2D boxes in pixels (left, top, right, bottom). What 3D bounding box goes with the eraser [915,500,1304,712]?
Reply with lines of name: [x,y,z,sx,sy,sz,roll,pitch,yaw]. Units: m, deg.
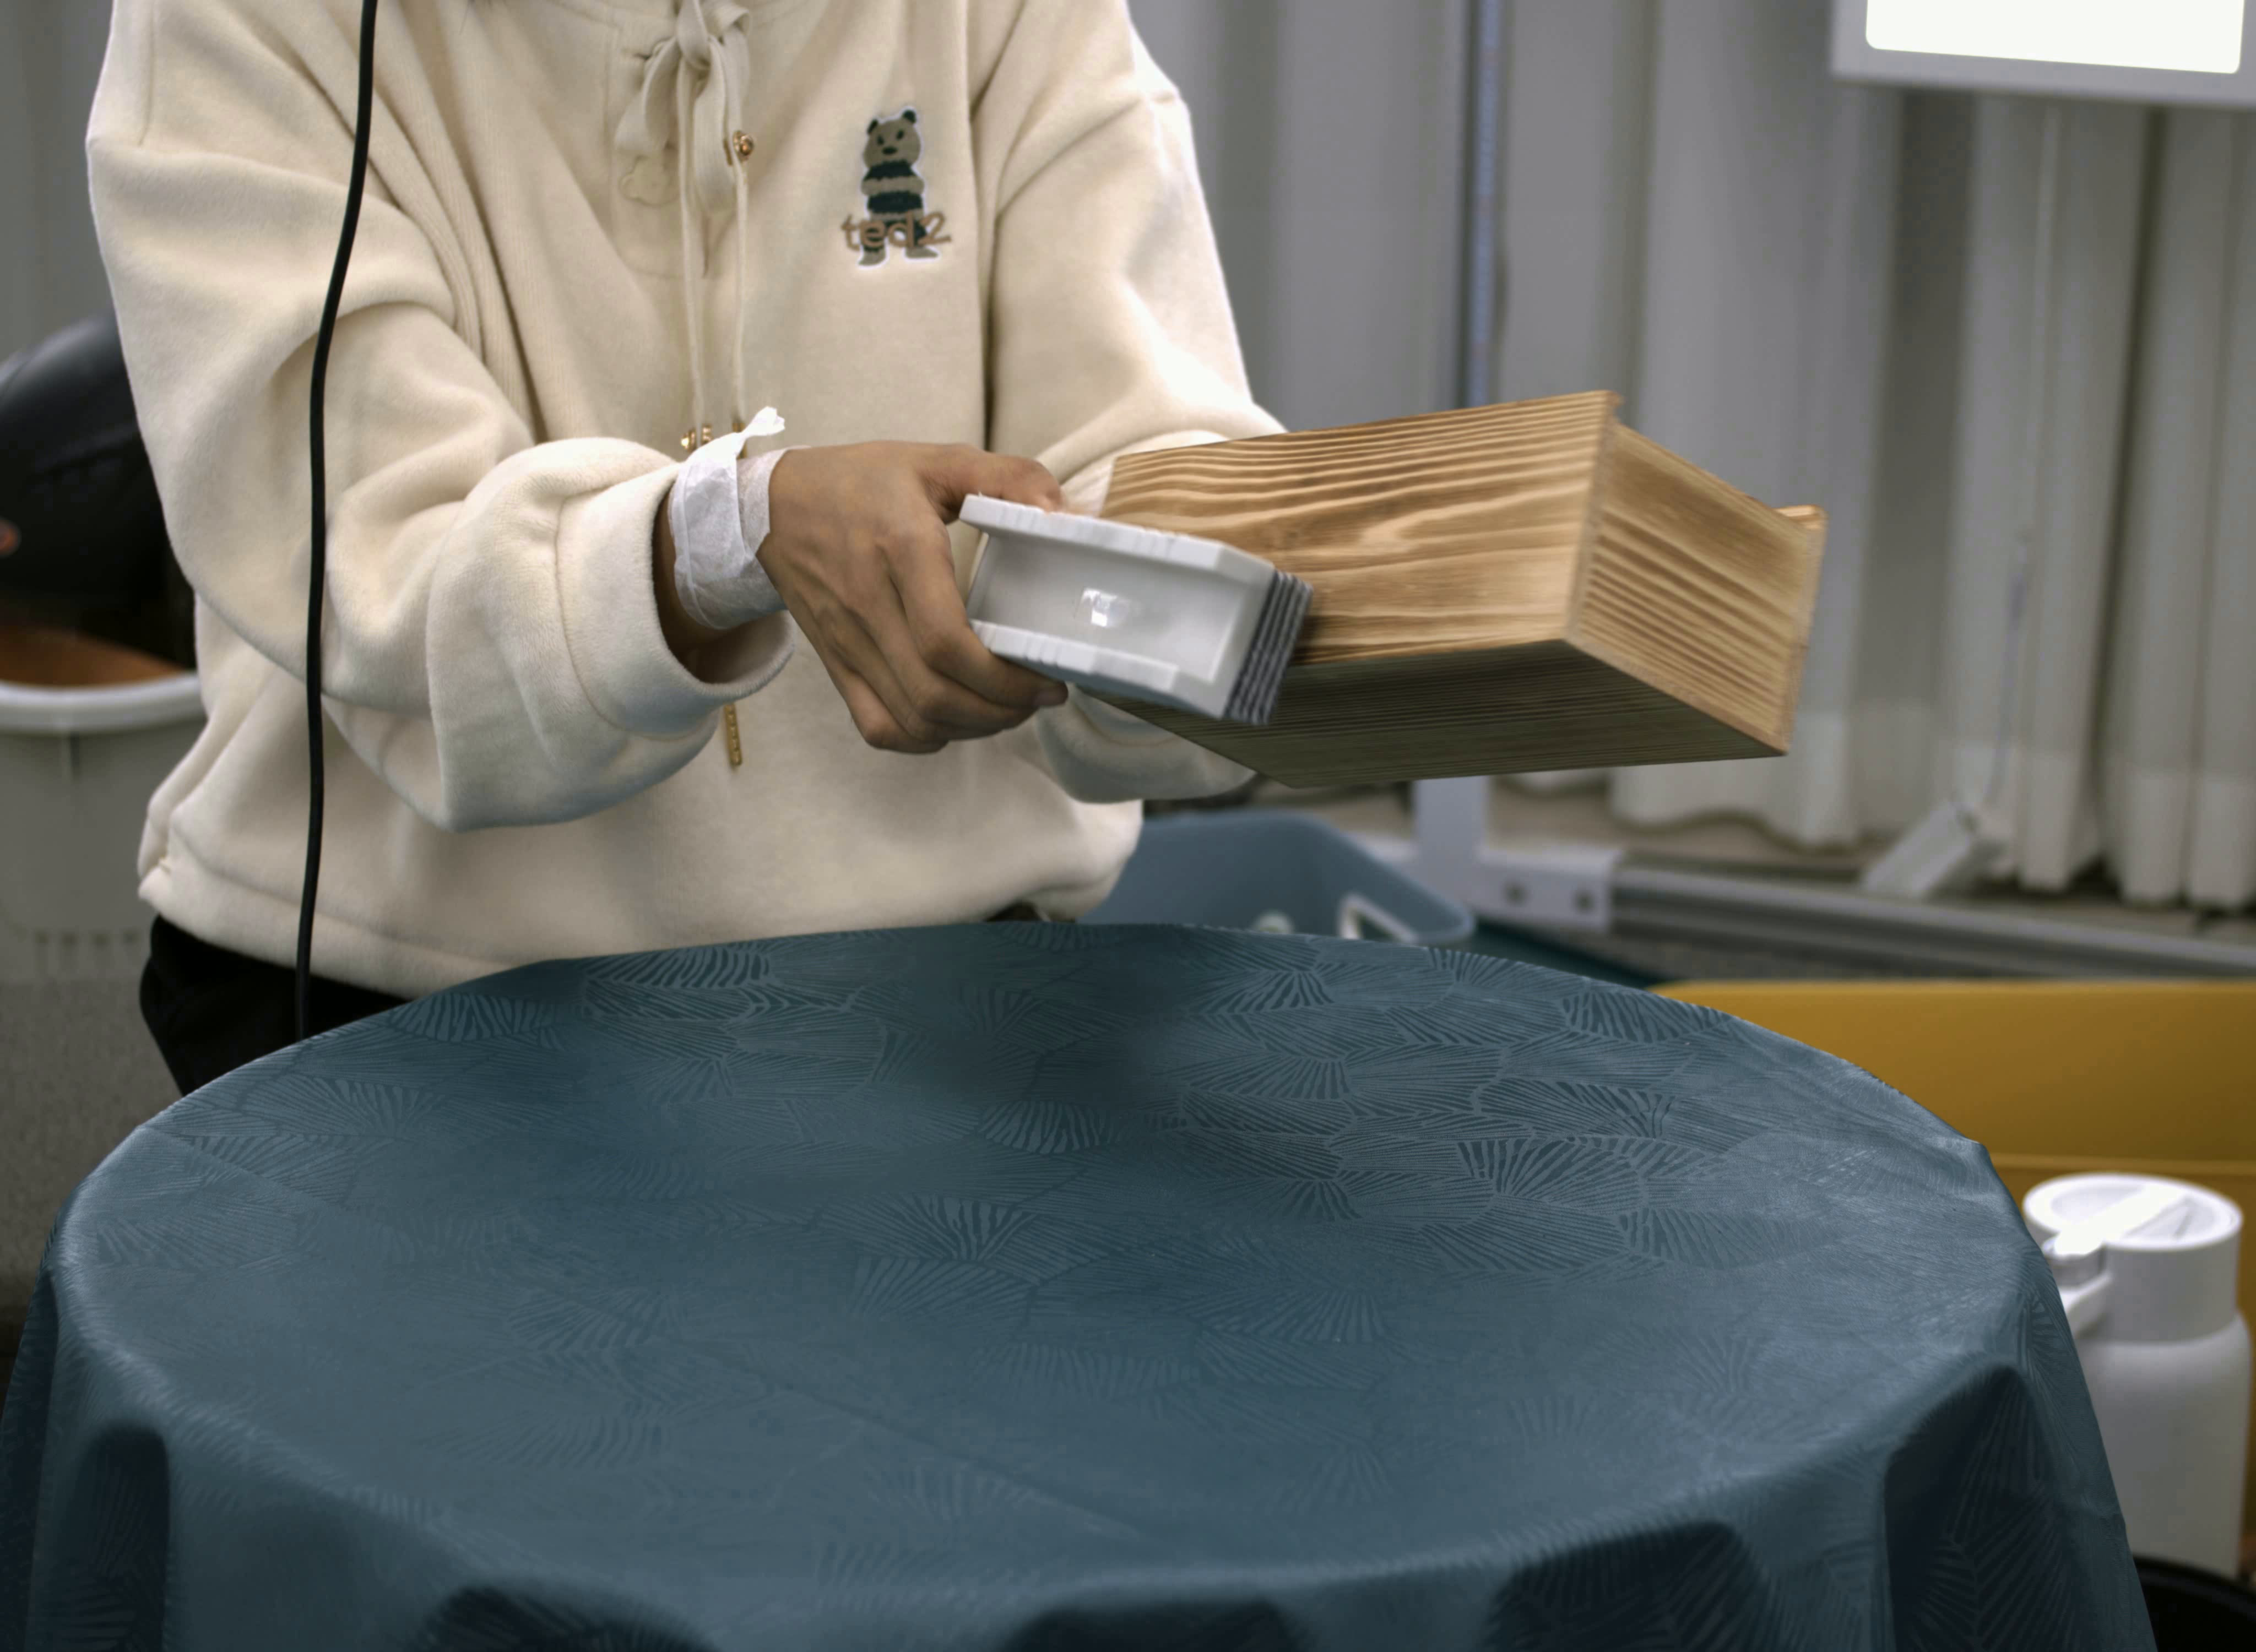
eraser: [-0.006,-0.068,1.622,0.047,0.050,0.132,20,-6,-38]

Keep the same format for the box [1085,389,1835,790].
box: [0.099,-0.069,1.632,0.209,0.080,0.109,-3,-20,45]
